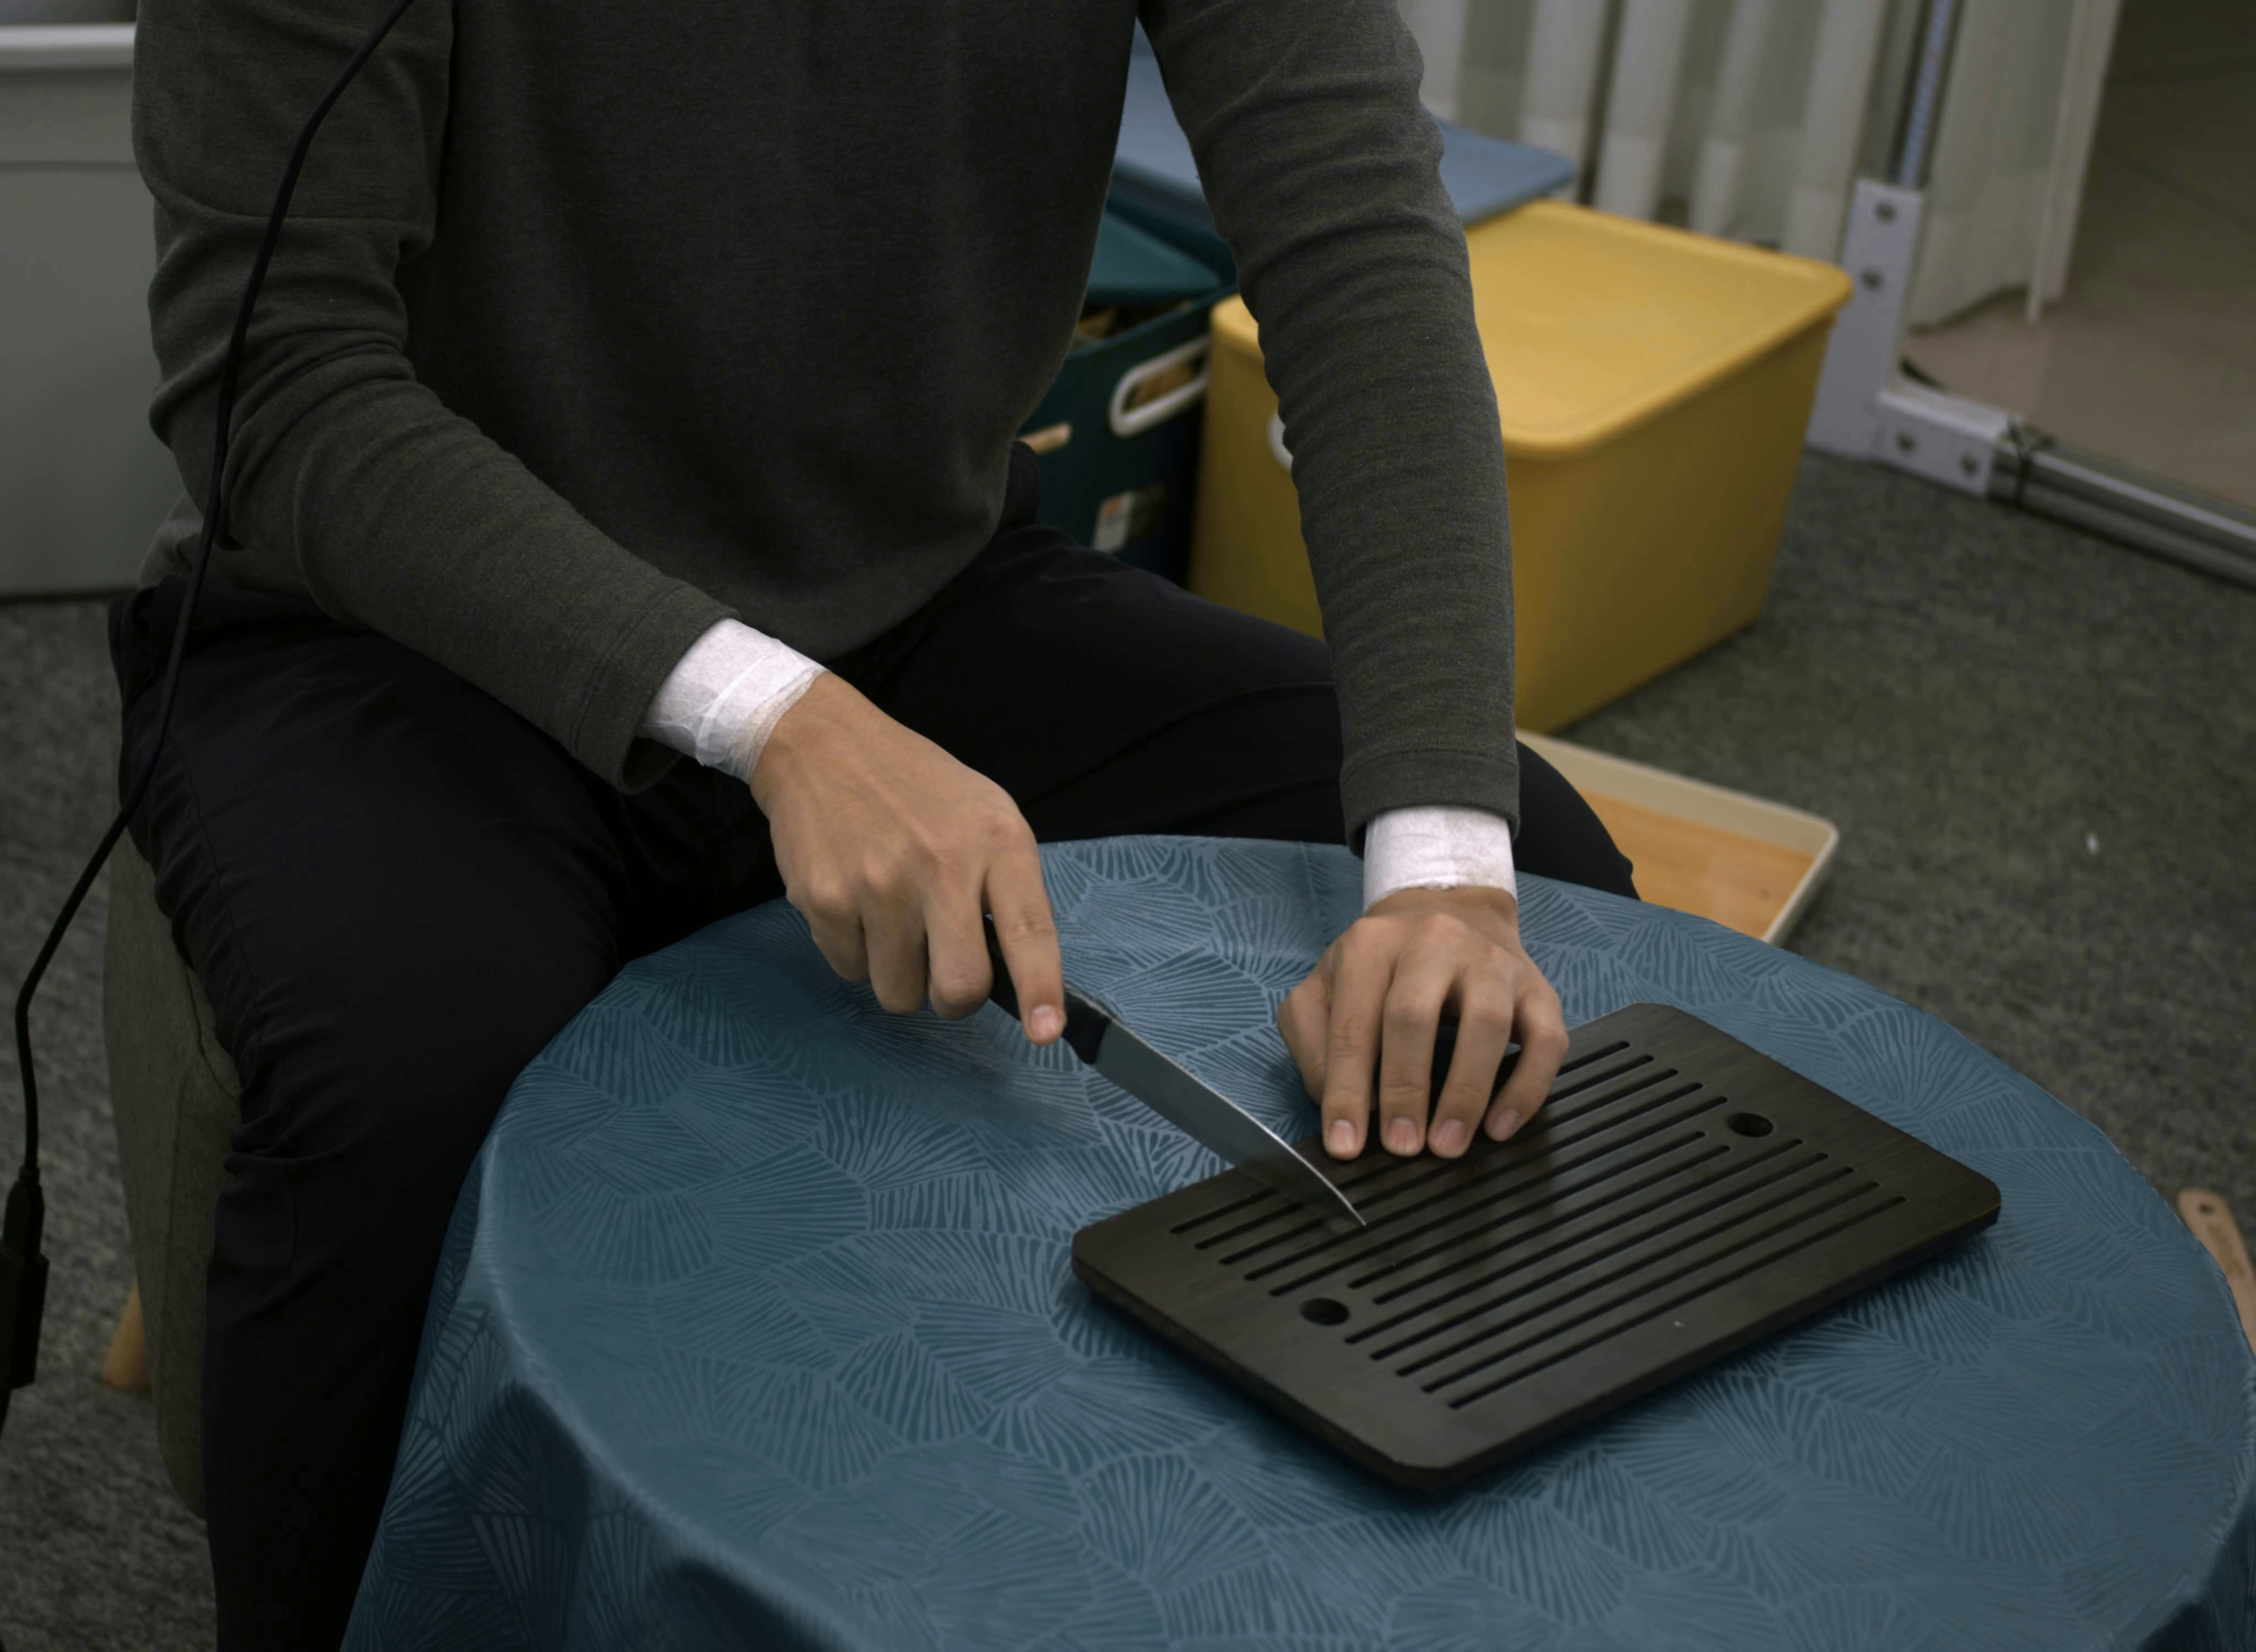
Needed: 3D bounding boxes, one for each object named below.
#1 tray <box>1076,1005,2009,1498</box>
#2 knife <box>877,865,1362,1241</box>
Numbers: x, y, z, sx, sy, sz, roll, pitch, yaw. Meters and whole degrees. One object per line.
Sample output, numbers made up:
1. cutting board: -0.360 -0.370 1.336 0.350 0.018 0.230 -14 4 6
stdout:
1. tray: 0.142 0.139 1.787 0.304 0.018 0.171 -19 35 -40
2. knife: -0.003 0.075 1.823 0.240 0.024 0.016 36 29 33
